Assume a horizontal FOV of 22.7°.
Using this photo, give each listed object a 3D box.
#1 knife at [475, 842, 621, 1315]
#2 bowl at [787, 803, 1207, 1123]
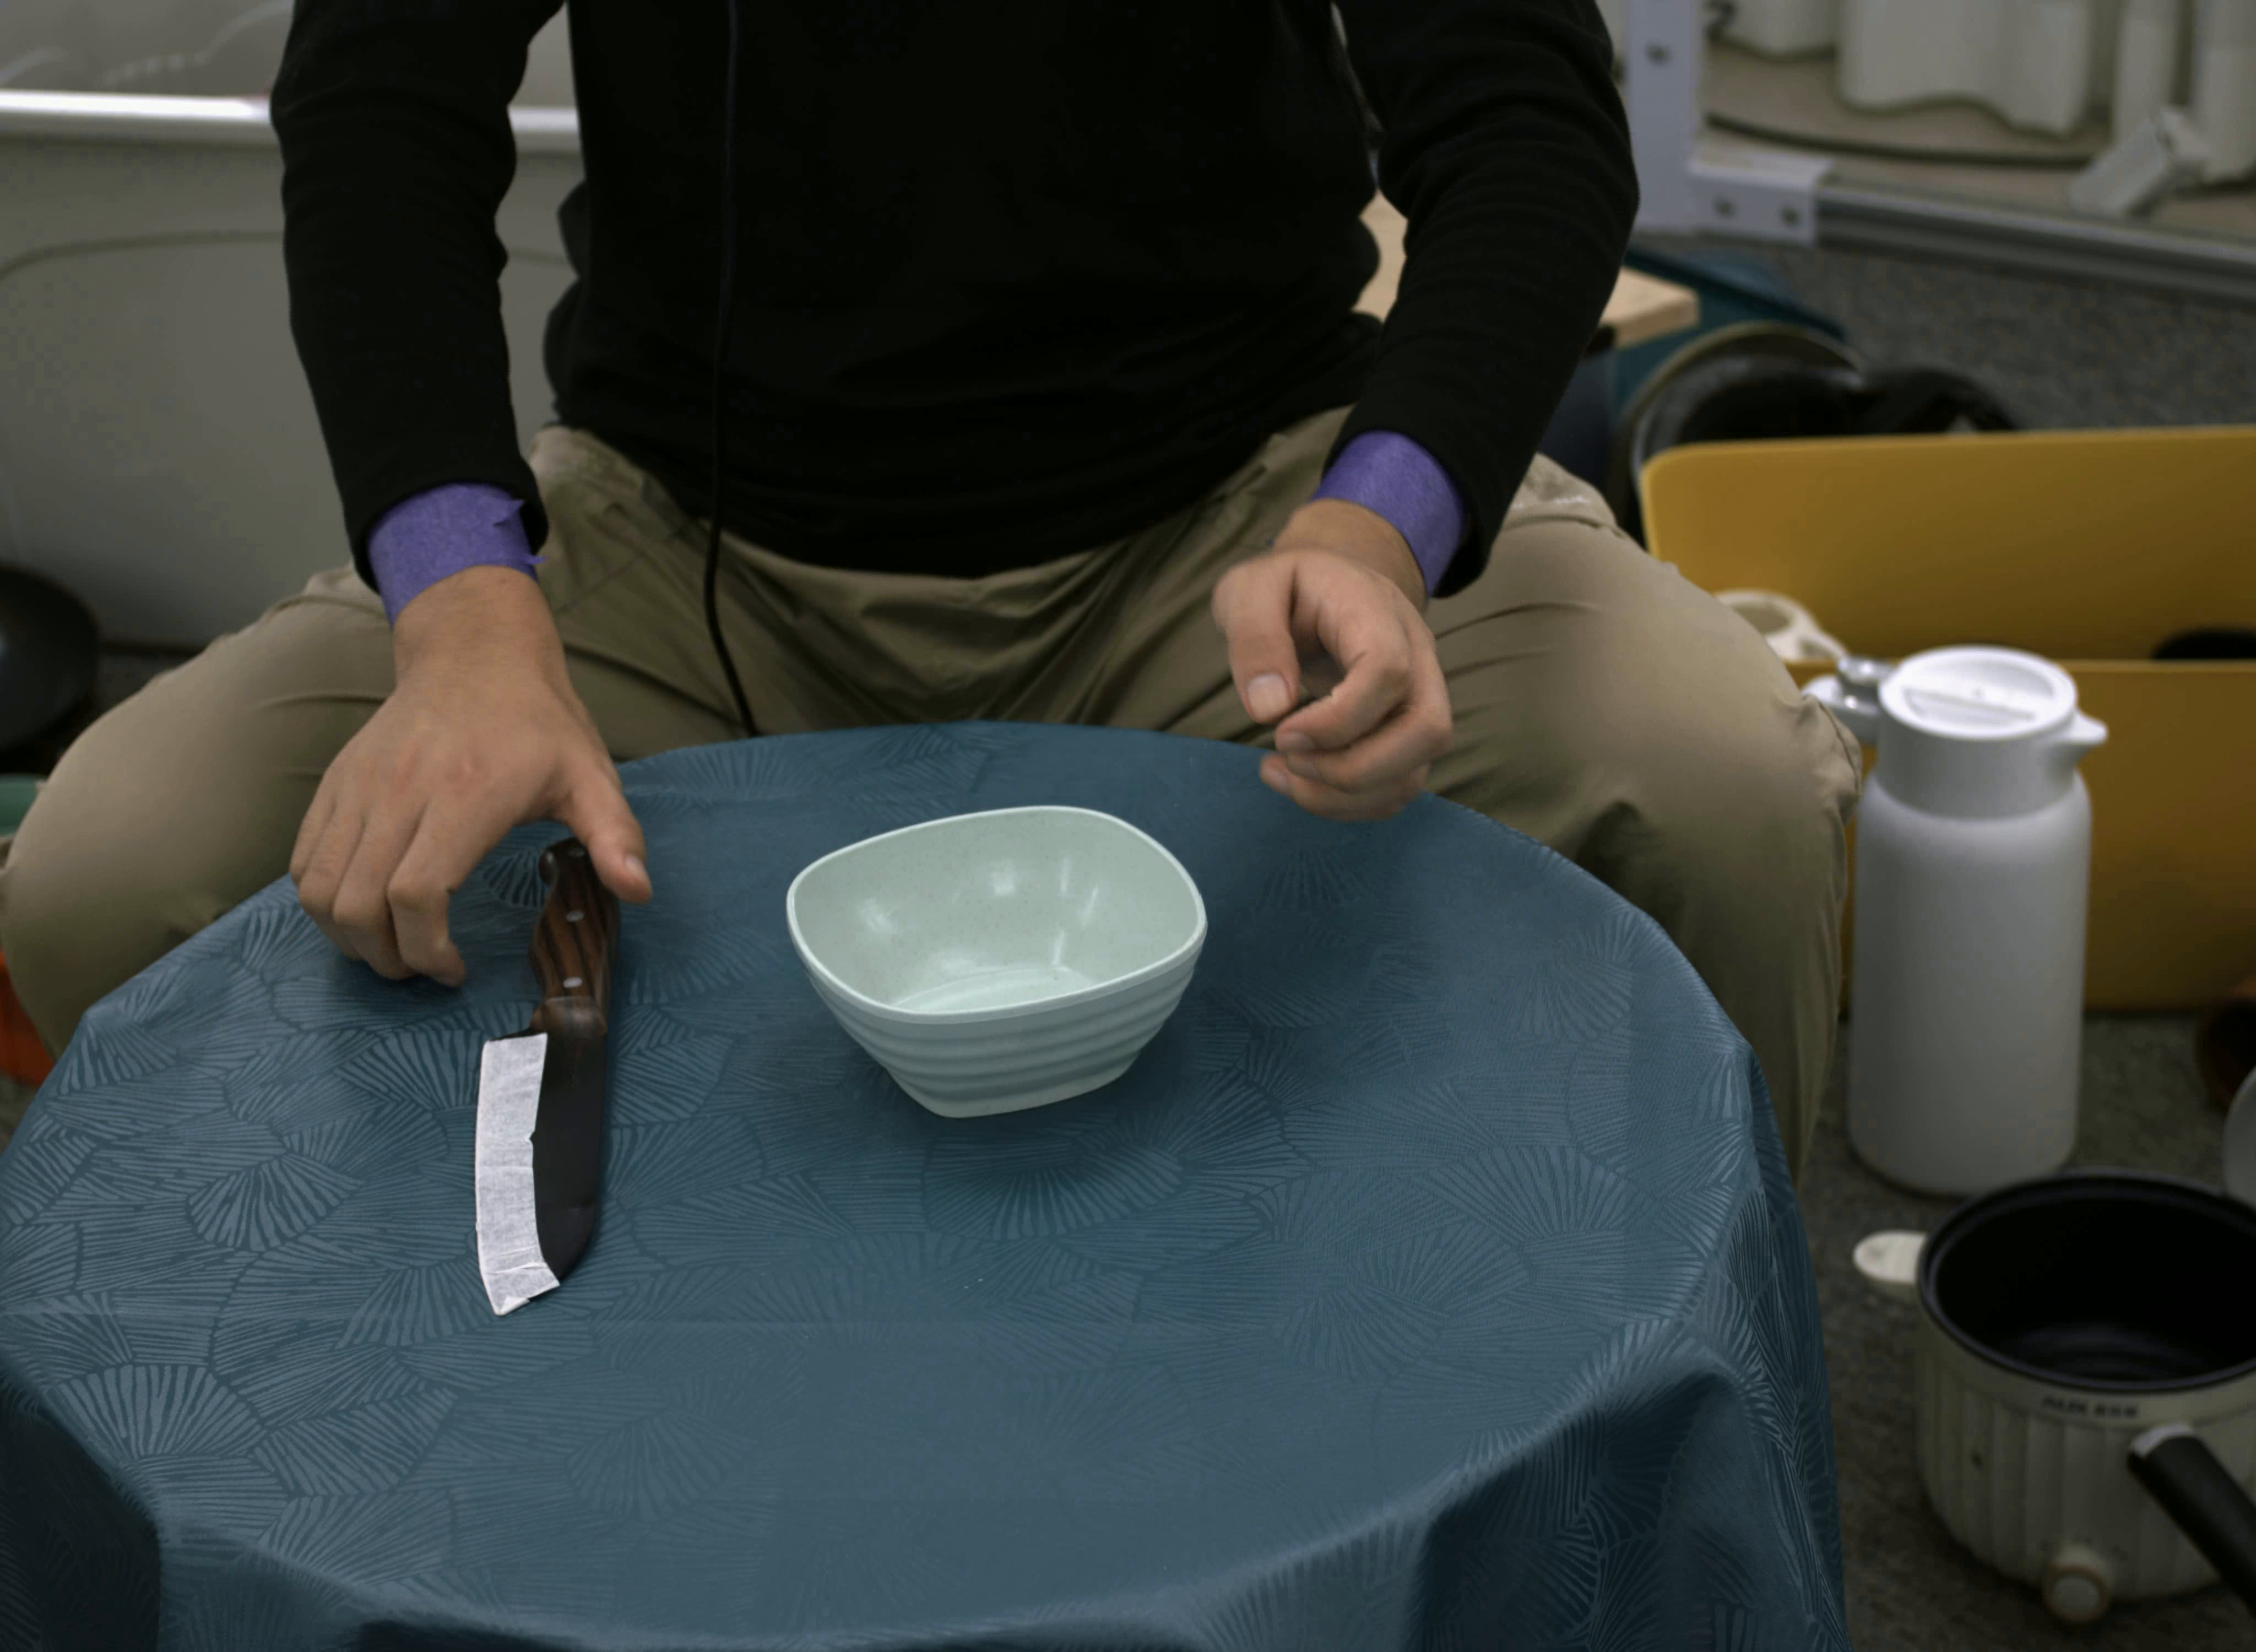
[{"bbox_3d":[-0.199,0.085,1.933,0.050,0.020,0.294,-7,30,3],"label":"knife"},{"bbox_3d":[-0.044,0.053,1.936,0.151,0.058,0.154,-2,29,1],"label":"bowl"}]
